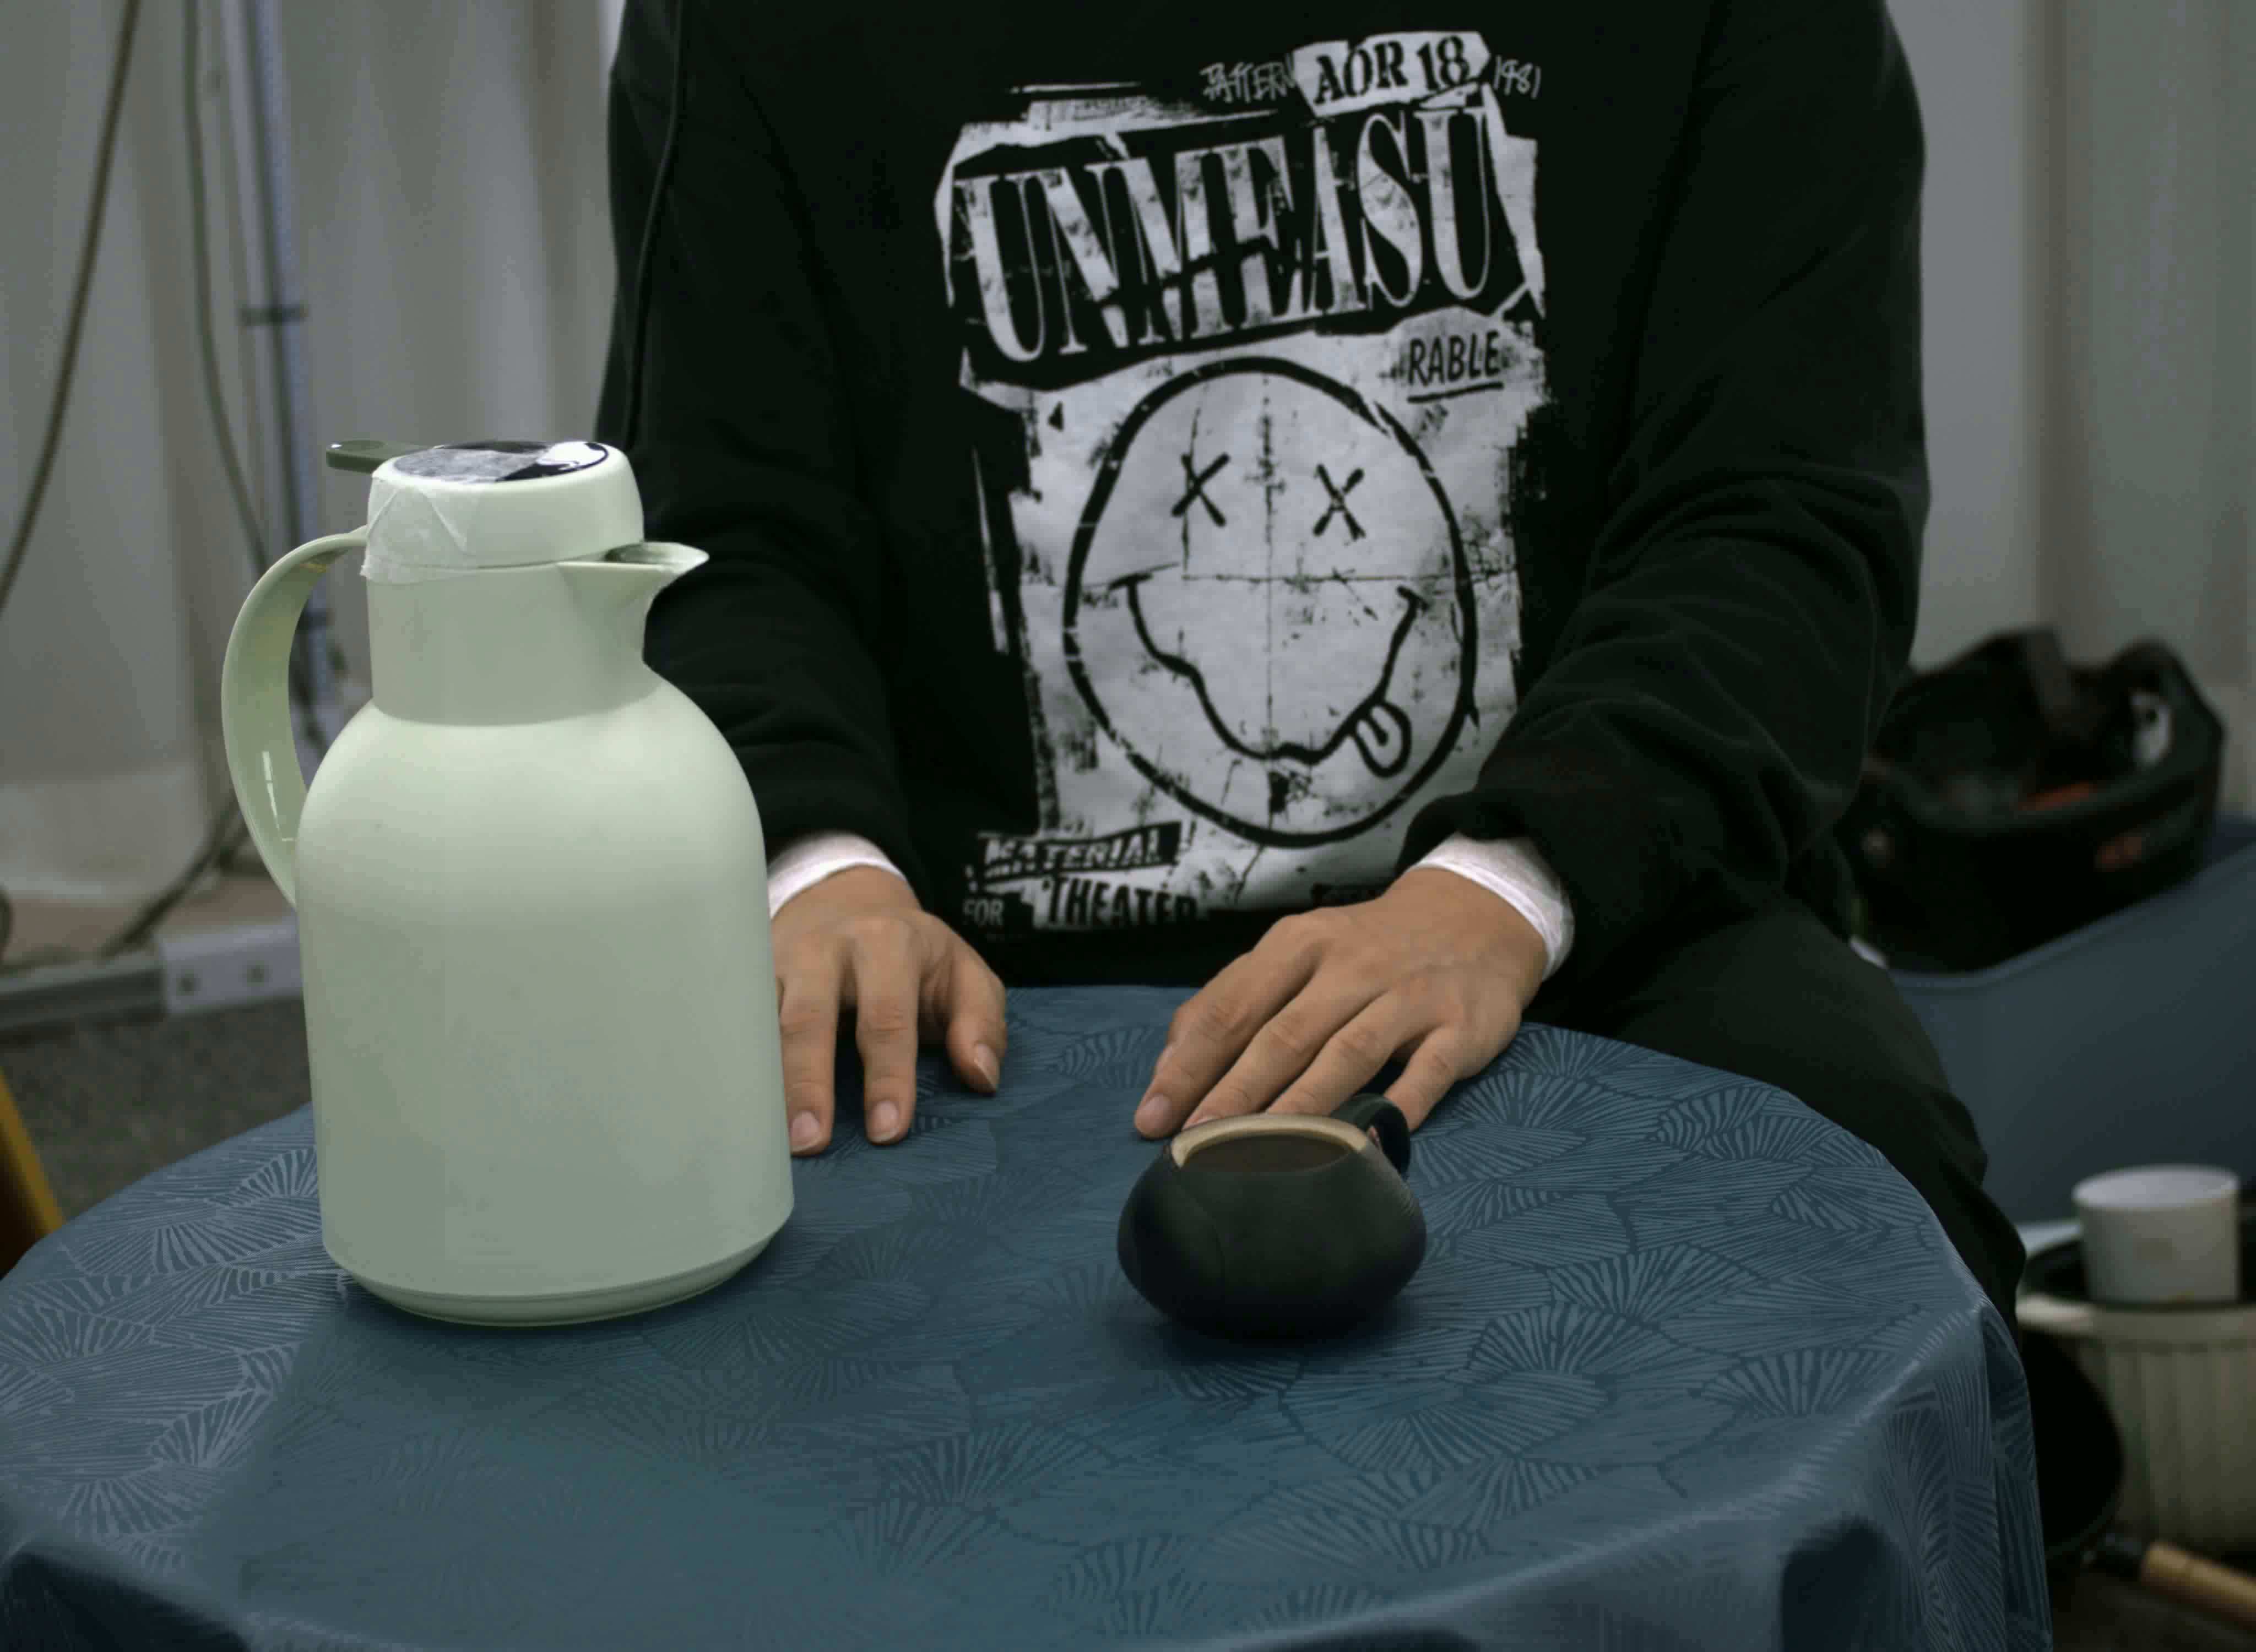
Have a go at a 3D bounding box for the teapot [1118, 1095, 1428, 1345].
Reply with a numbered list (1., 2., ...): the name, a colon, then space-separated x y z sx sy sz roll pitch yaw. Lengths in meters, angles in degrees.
1. teapot: 0.043 0.117 1.593 0.091 0.053 0.133 10 20 37

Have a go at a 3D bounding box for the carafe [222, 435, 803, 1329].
1. carafe: -0.191 0.011 1.657 0.187 0.256 0.144 3 15 34
